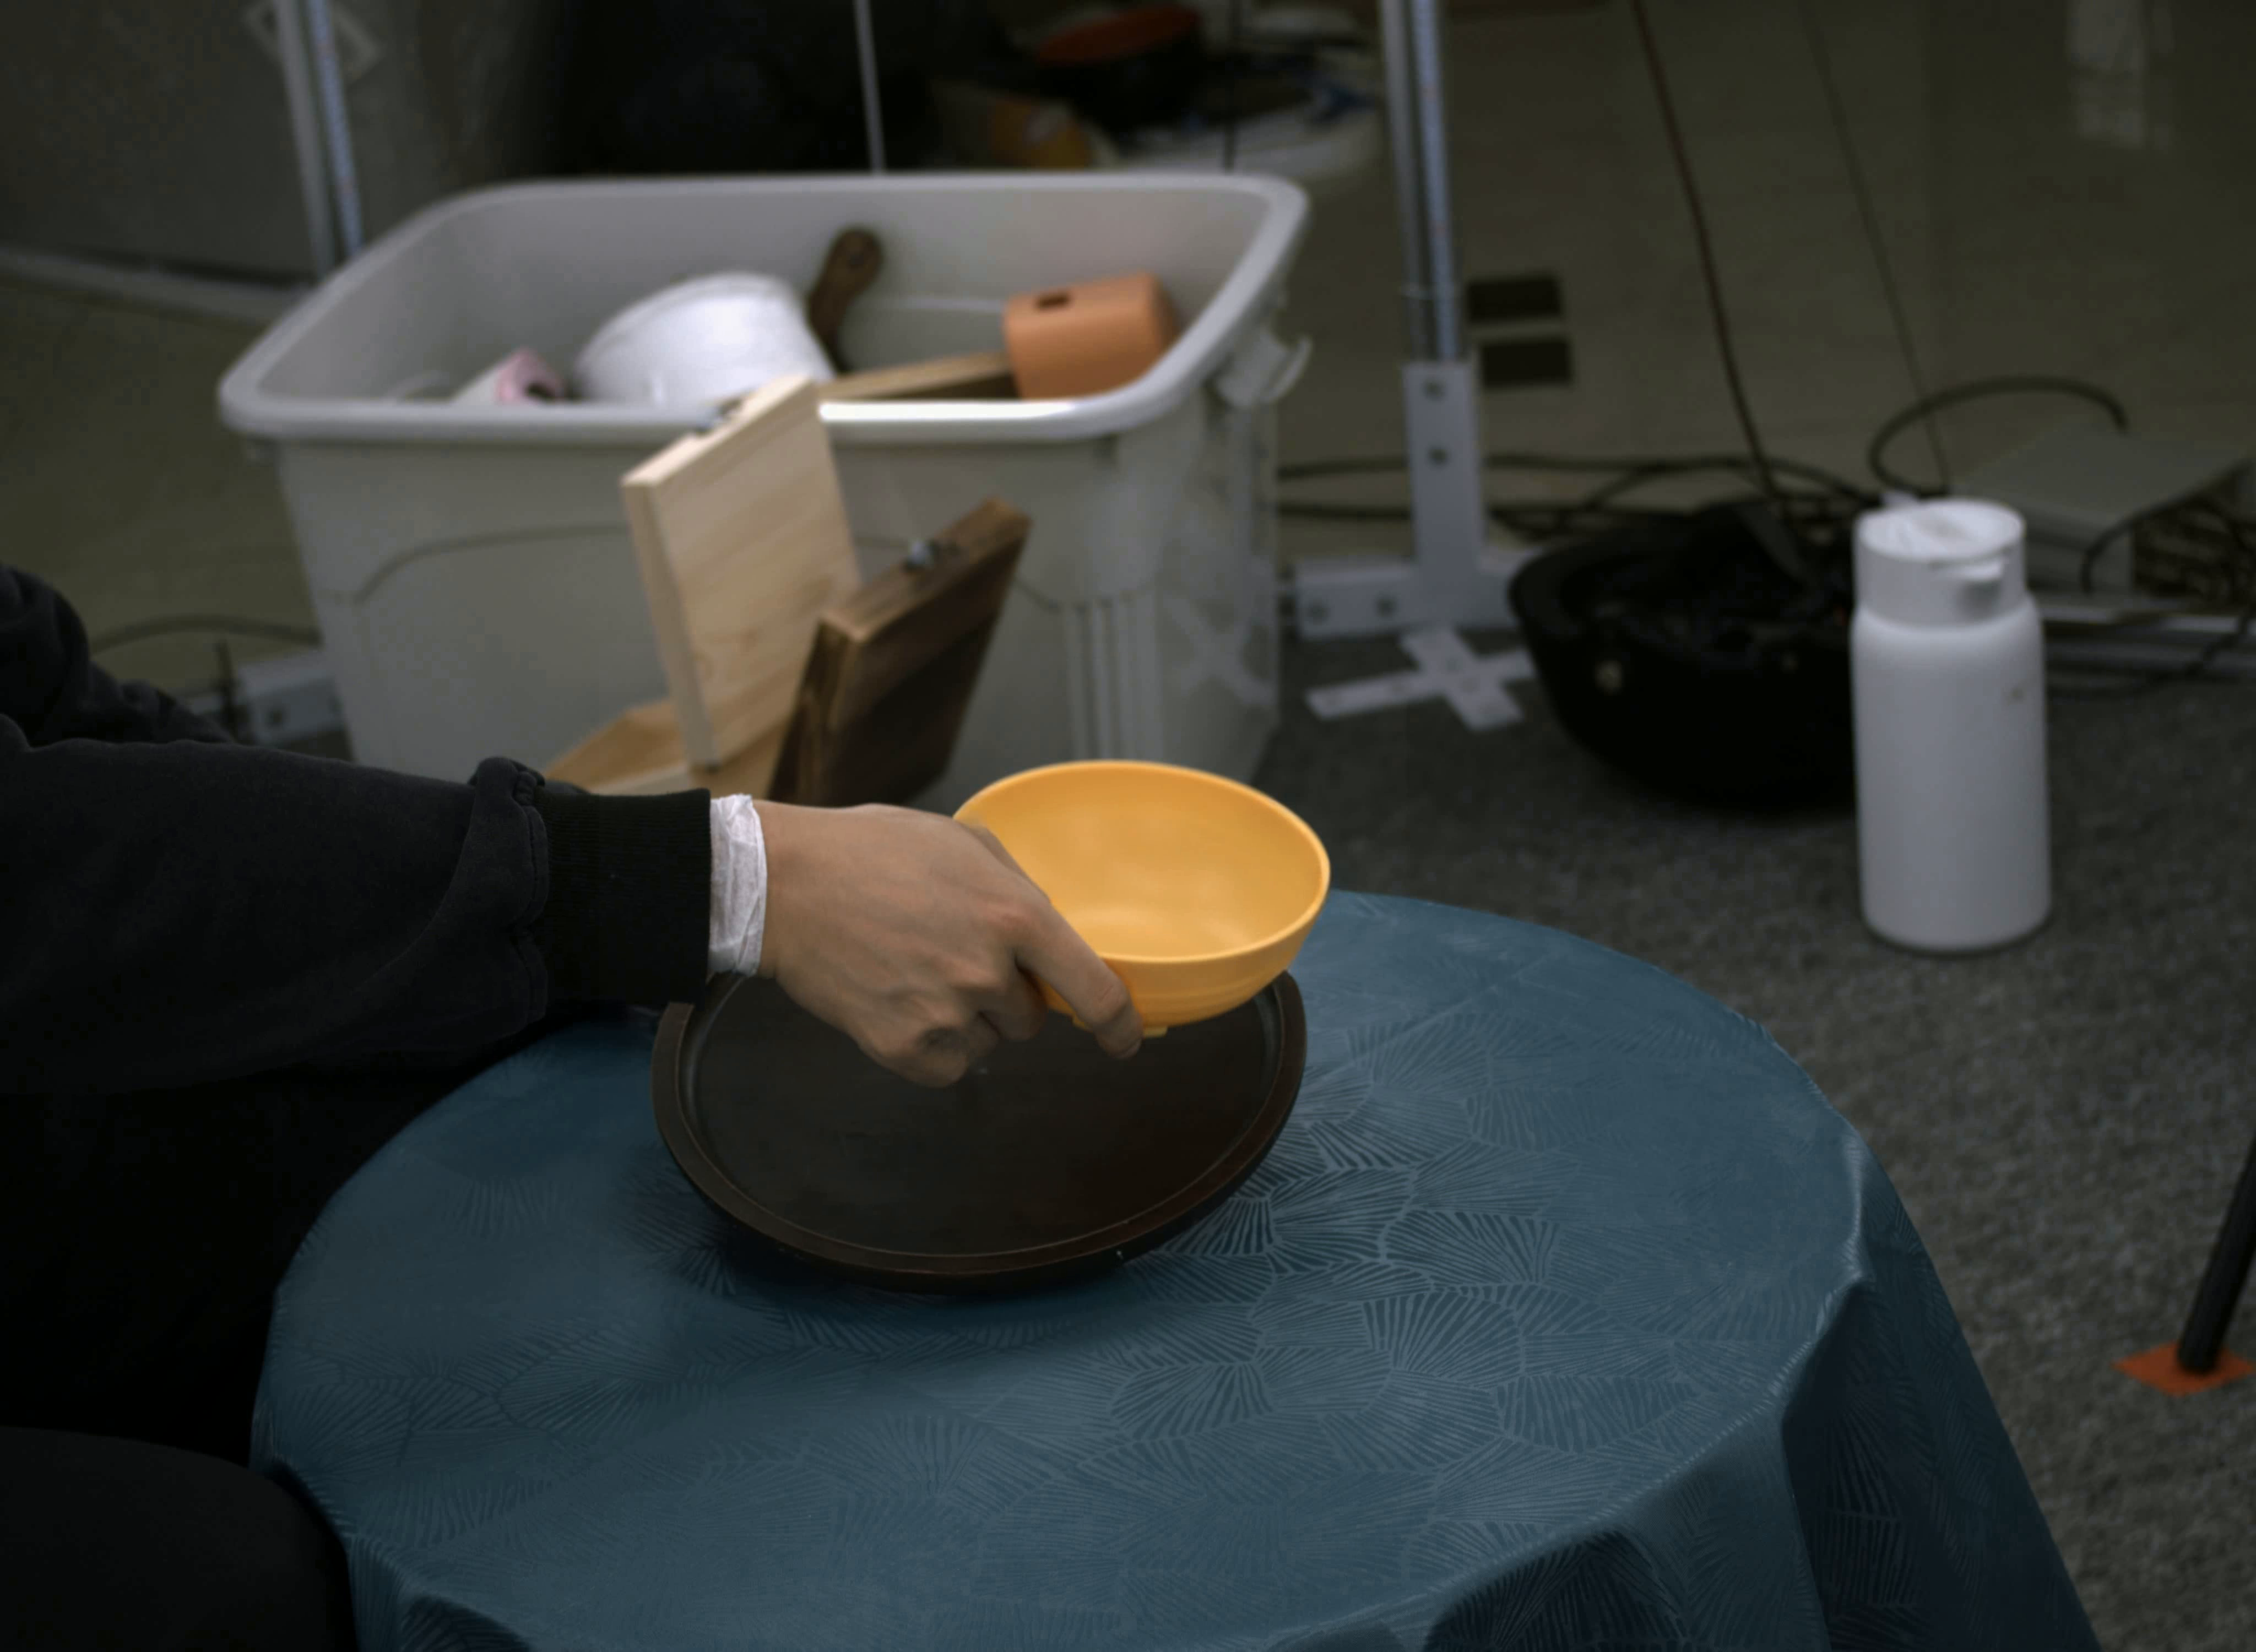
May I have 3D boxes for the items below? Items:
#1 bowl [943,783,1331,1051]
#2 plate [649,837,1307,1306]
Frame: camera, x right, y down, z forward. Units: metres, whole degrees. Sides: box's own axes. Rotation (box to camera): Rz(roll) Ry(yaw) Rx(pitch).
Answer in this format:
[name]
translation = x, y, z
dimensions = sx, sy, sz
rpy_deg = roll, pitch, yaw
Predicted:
[bowl]
translation = 0.002, 0.042, 2.108
dimensions = 0.145, 0.061, 0.143
rpy_deg = 2, 29, -1
[plate]
translation = -0.057, 0.092, 2.173
dimensions = 0.254, 0.029, 0.250
rpy_deg = -3, 42, 3
